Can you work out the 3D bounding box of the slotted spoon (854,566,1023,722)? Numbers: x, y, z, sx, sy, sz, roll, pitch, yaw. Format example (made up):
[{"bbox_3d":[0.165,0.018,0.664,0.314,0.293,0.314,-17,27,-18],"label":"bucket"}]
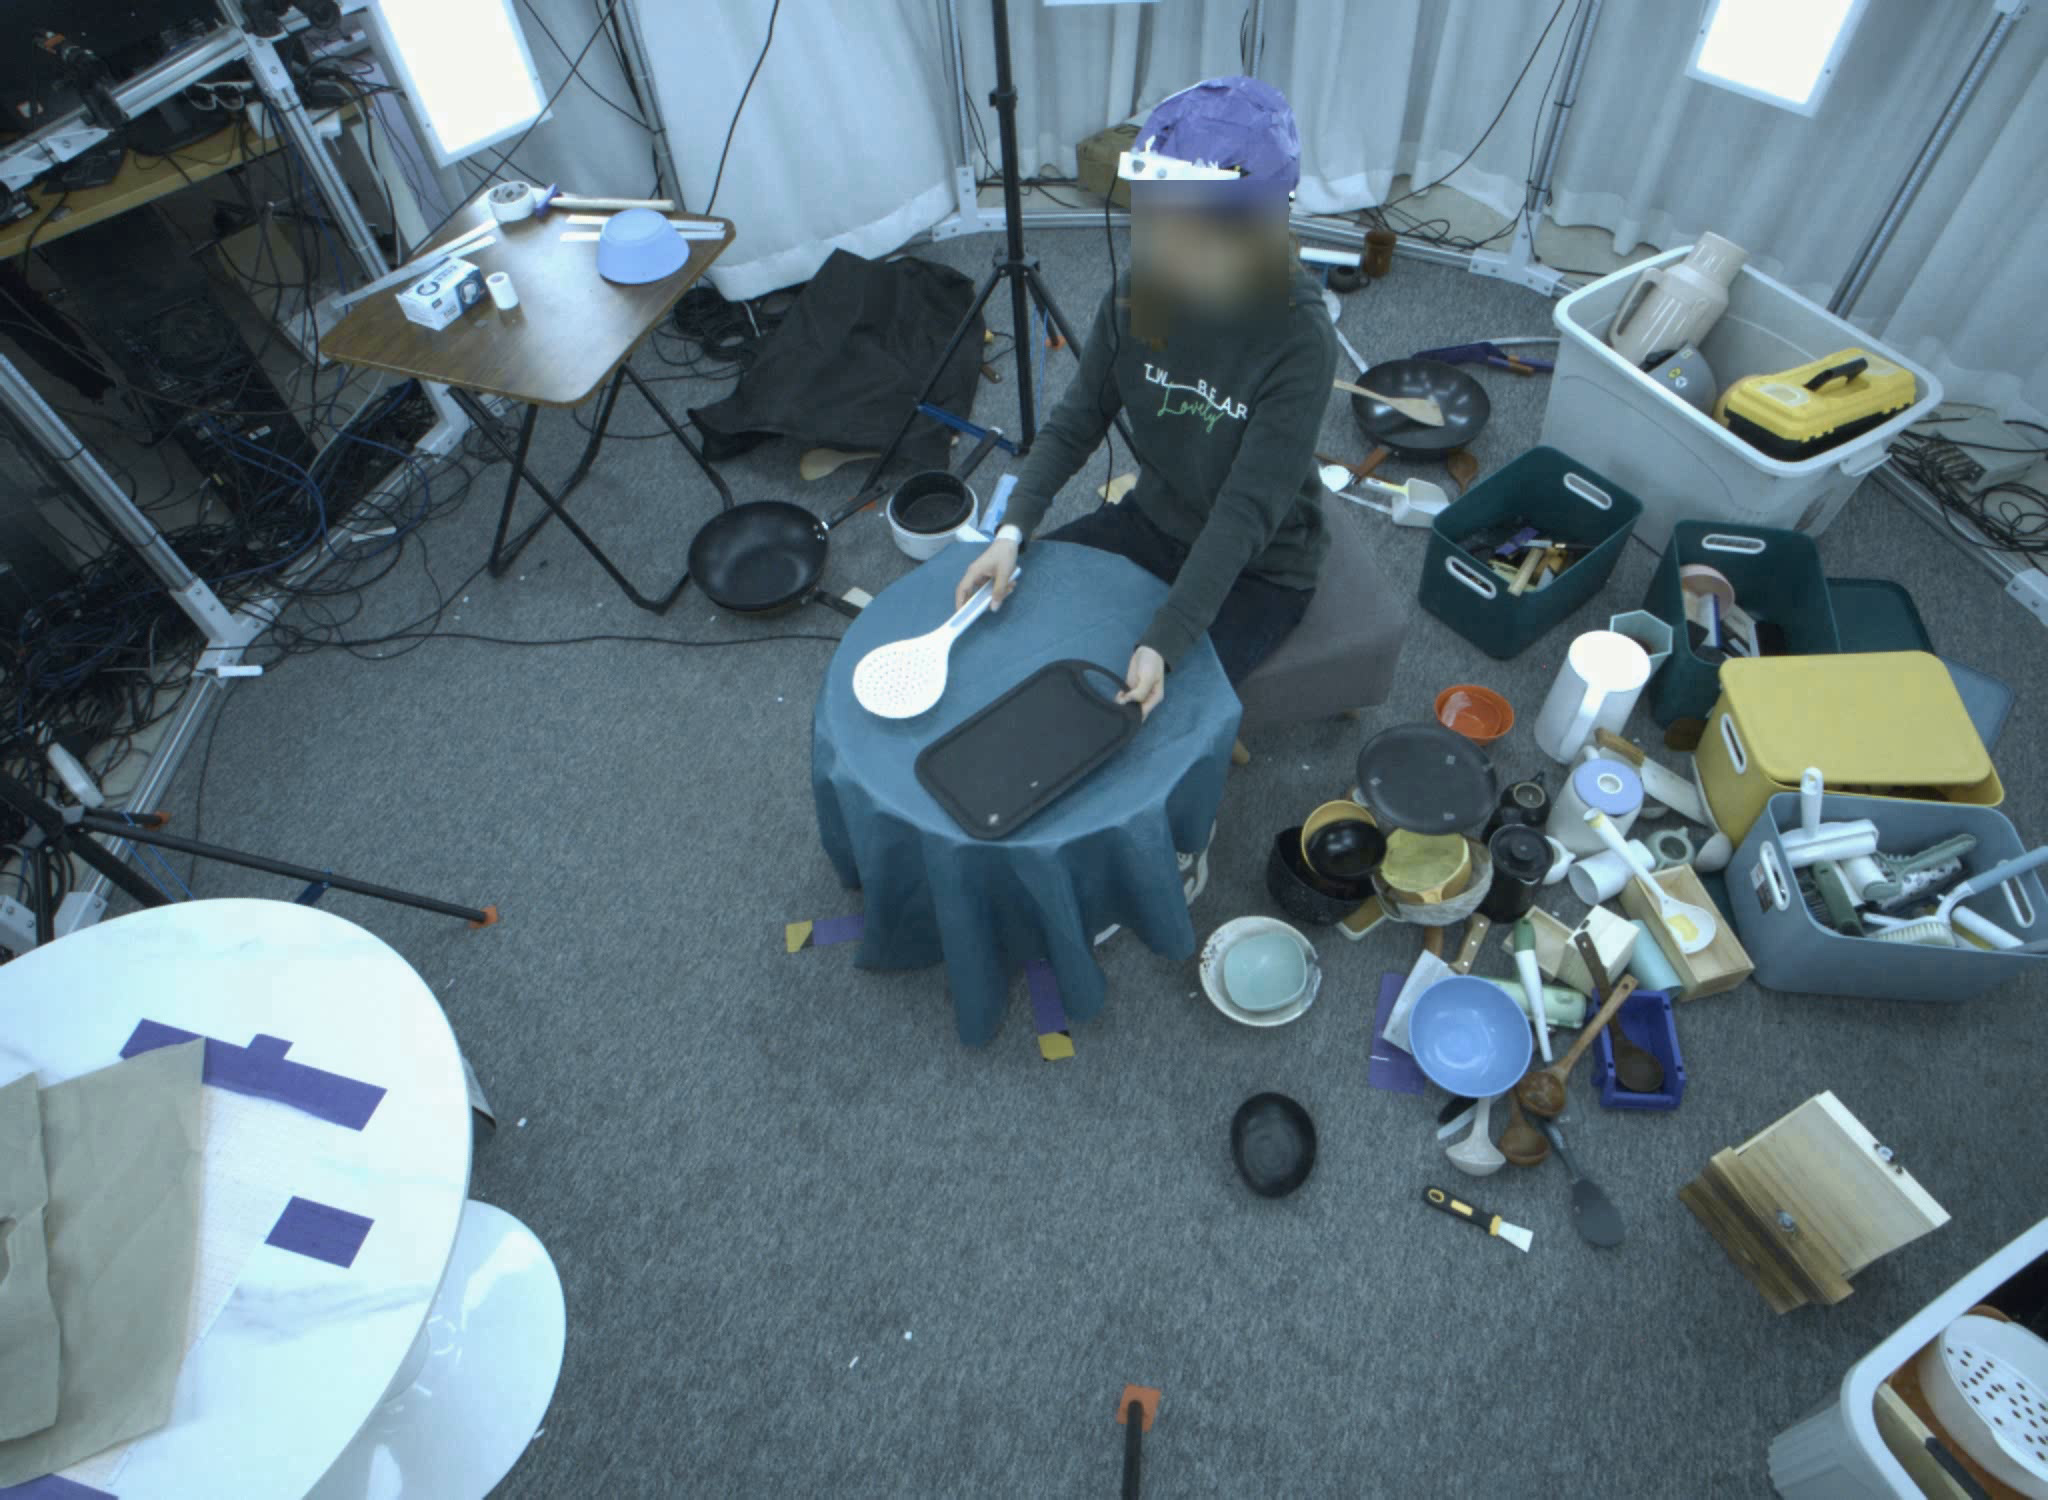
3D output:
[{"bbox_3d":[-0.119,-0.169,1.877,0.134,0.046,0.351,34,68,15],"label":"slotted spoon"}]

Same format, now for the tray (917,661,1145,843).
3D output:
[{"bbox_3d":[0.014,-0.009,1.775,0.327,0.010,0.206,-36,56,-16],"label":"tray"}]
